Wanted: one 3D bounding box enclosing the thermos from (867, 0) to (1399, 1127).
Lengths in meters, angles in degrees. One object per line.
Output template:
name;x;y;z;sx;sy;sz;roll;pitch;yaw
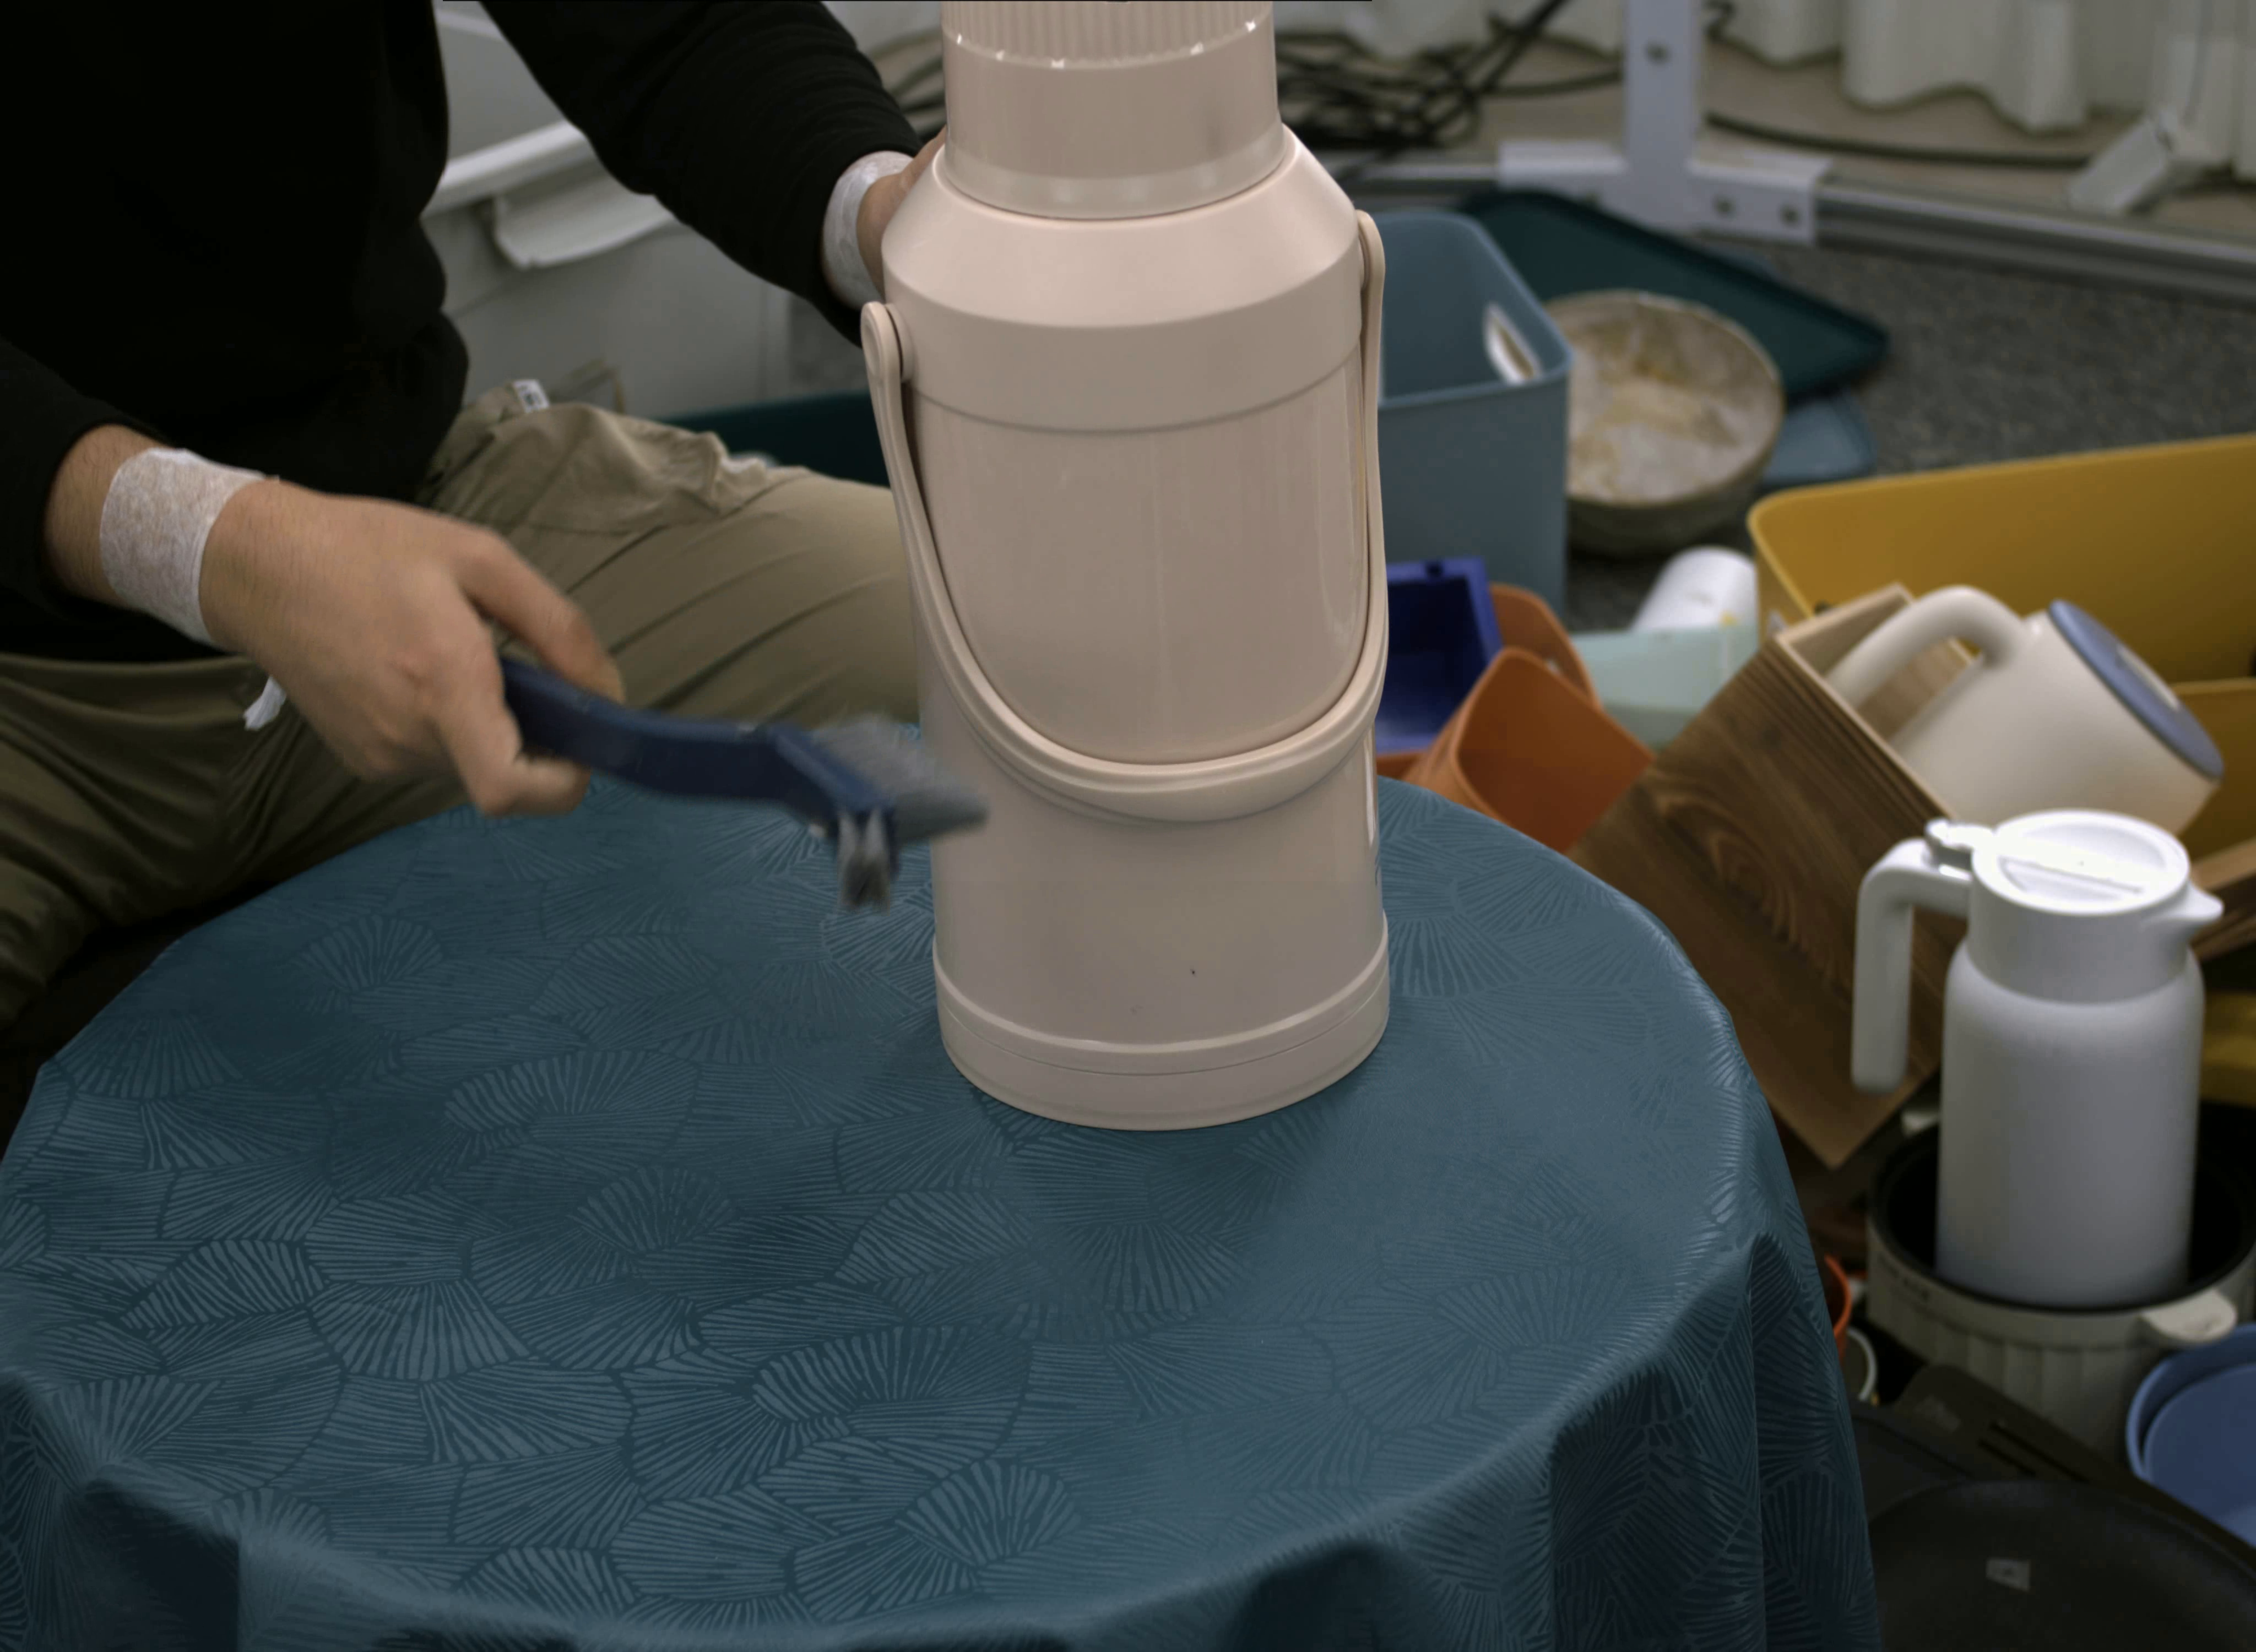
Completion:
thermos;0.001;-0.116;1.894;0.176;0.402;0.208;-14;28;-17

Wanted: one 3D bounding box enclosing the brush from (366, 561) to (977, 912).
brush;-0.163;-0.032;1.795;0.272;0.033;0.097;15;33;34
